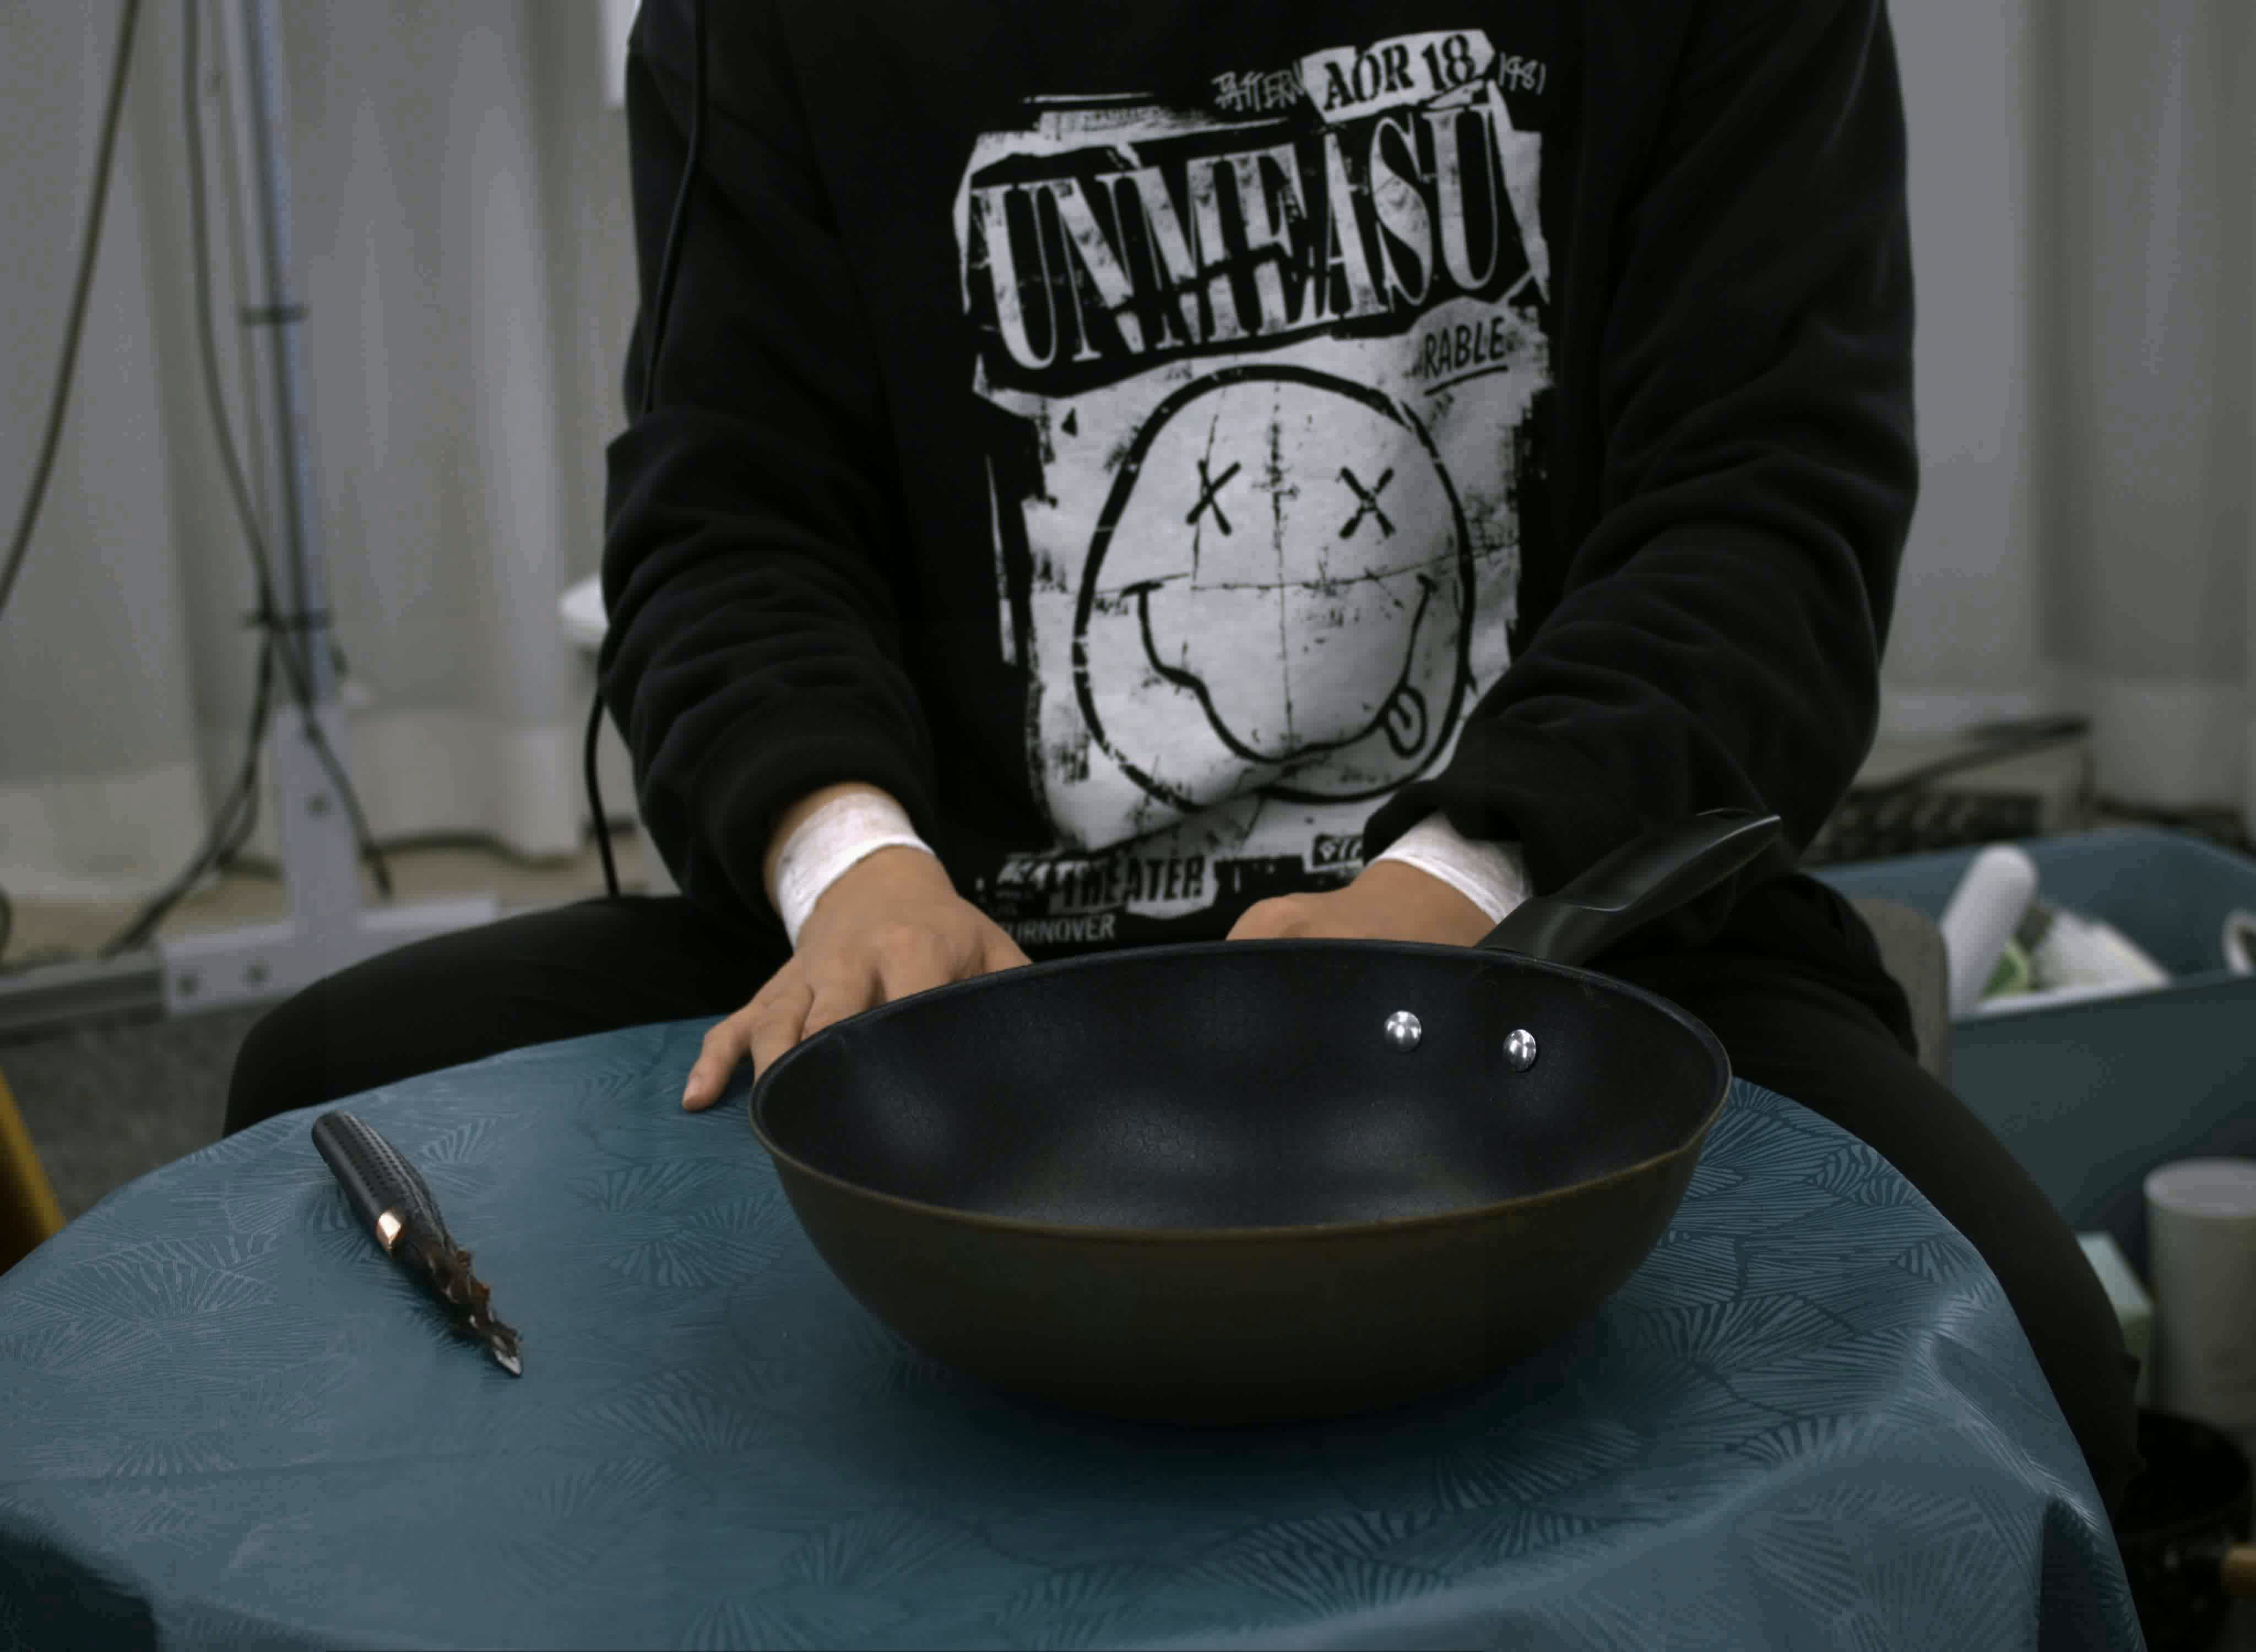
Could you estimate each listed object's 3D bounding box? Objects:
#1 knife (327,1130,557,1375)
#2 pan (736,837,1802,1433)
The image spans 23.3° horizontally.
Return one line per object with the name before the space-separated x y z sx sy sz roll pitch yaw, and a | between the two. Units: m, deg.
knife | -0.213 0.131 1.678 0.026 0.017 0.227 6 11 -23
pan | 0.080 0.089 1.642 0.289 0.086 0.463 7 17 33
